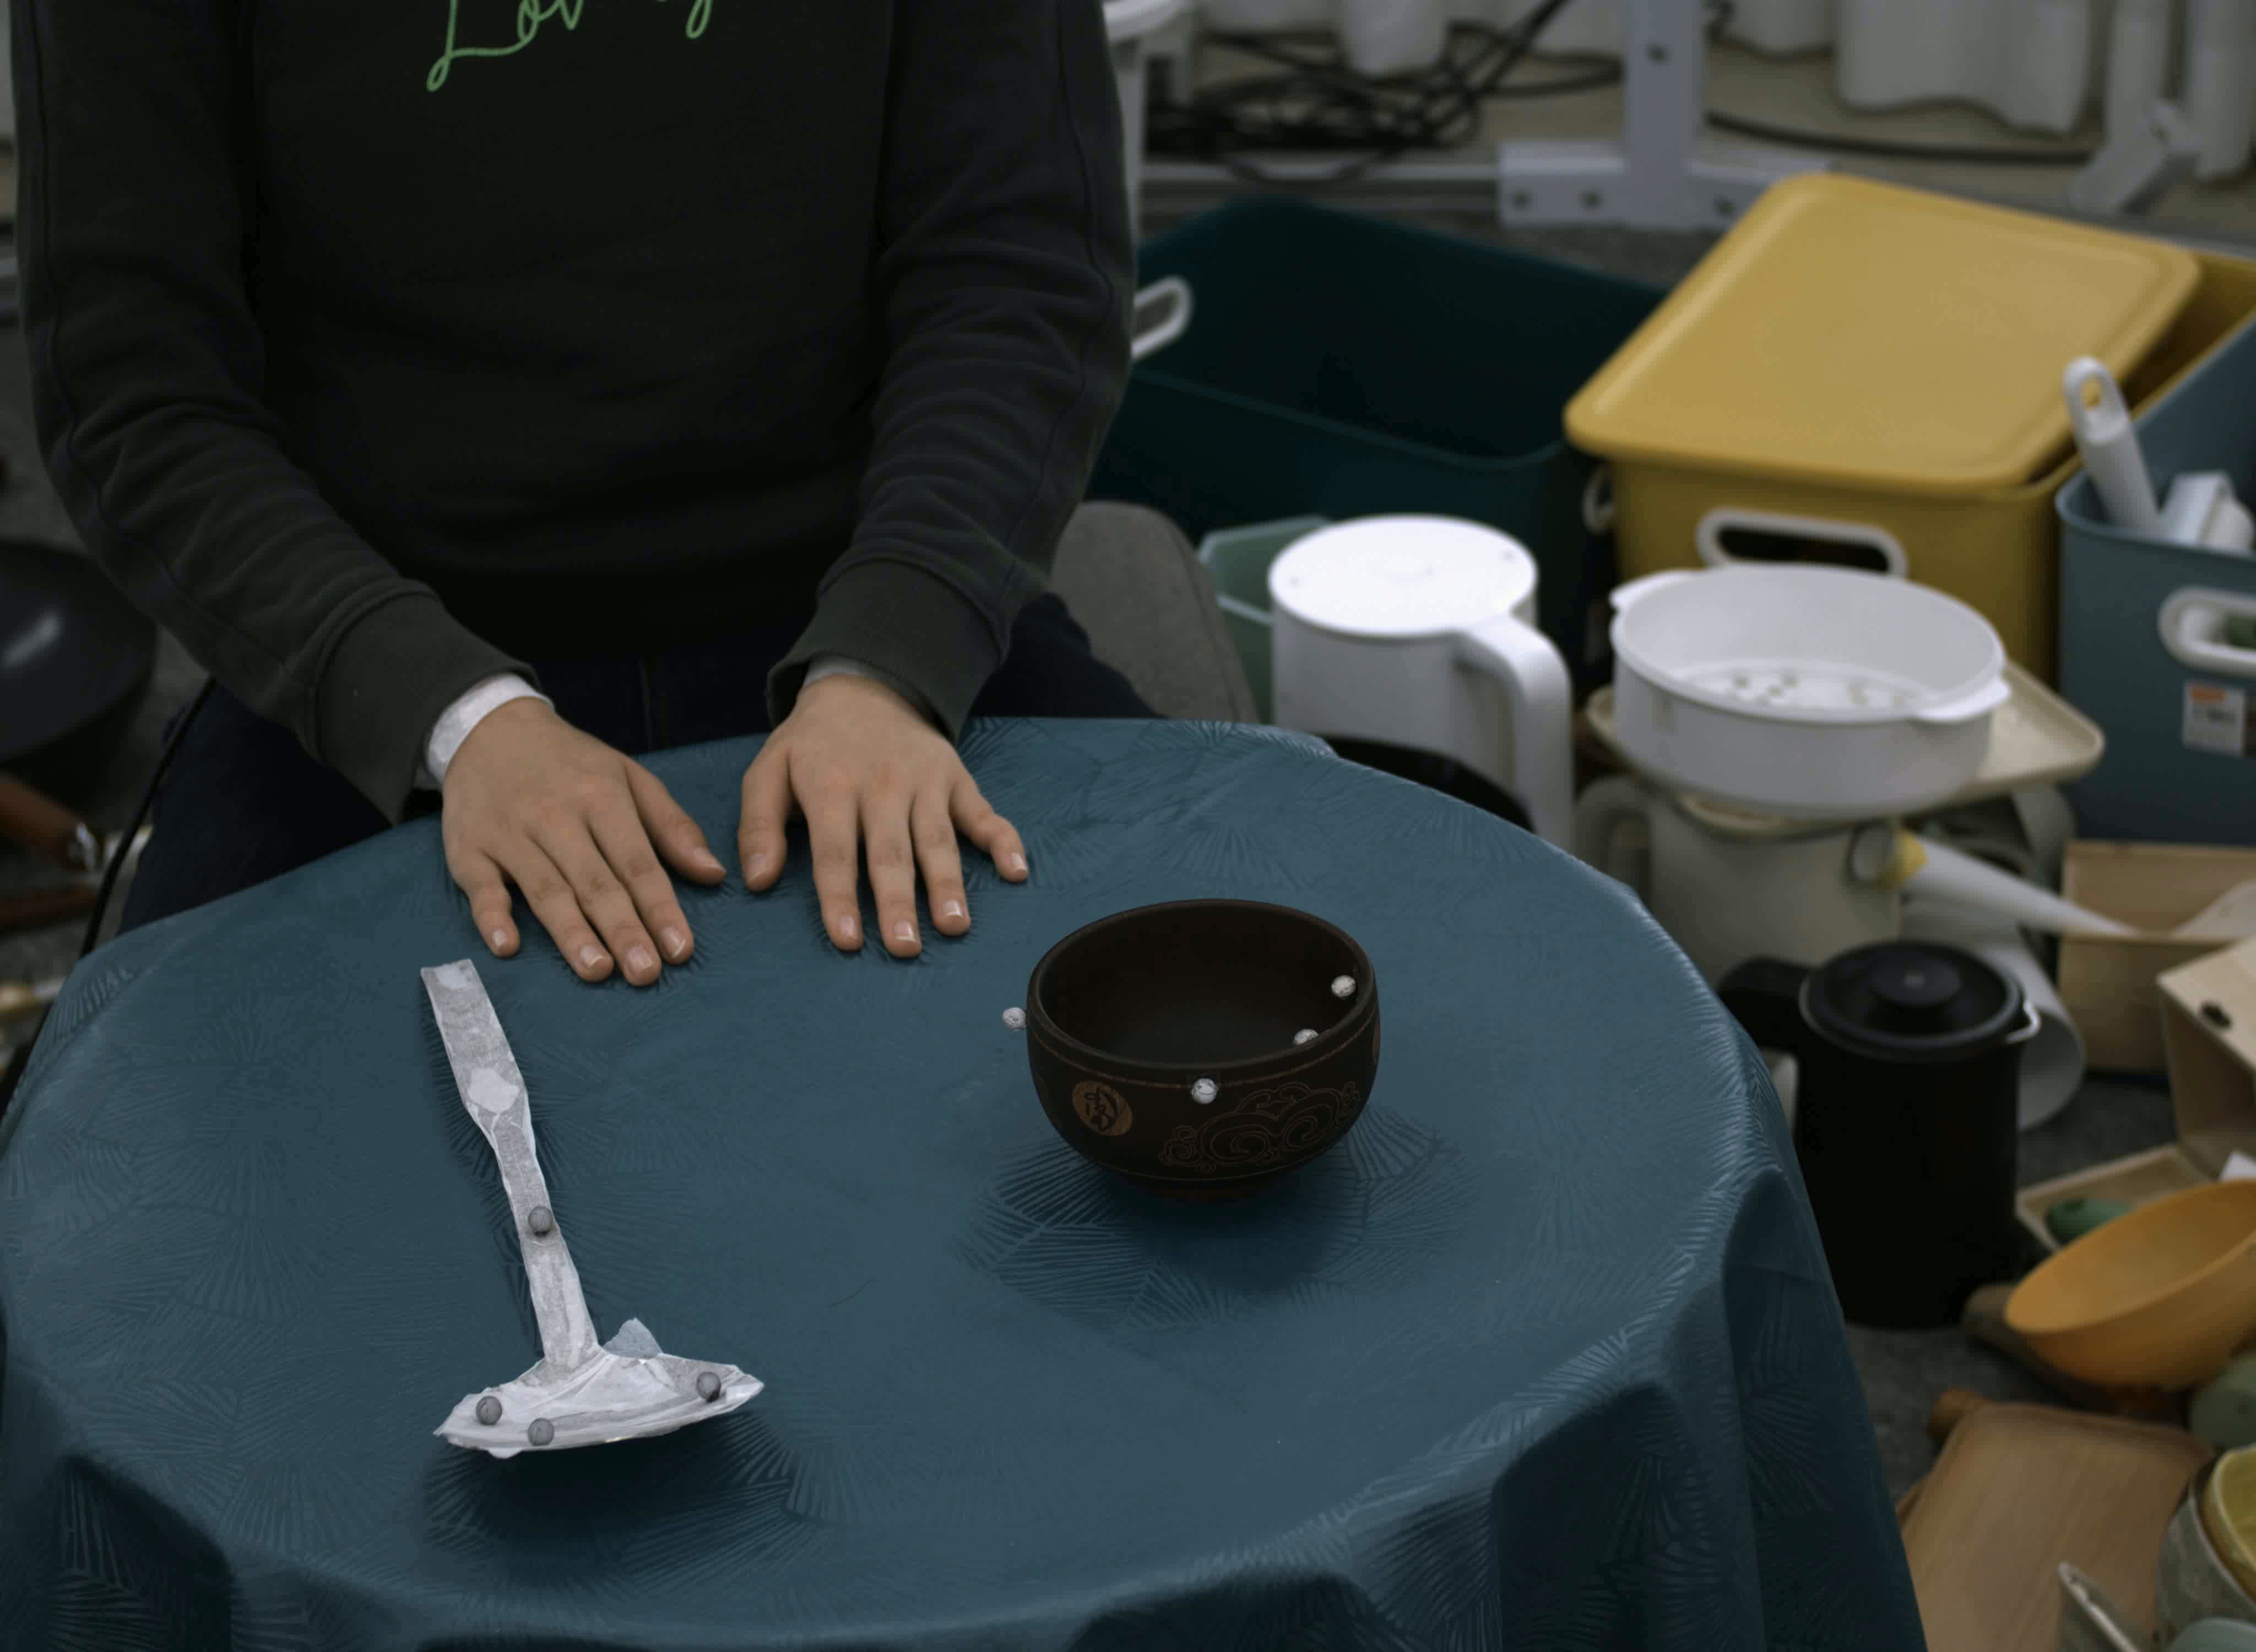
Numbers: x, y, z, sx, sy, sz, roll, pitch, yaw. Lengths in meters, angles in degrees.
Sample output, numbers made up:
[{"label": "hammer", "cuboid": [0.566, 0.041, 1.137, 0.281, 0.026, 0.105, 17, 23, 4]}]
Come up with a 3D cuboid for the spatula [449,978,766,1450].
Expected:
[{"label": "spatula", "cuboid": [-0.193, 0.119, 1.843, 0.098, 0.044, 0.369, -10, 28, -10]}]

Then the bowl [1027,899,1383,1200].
[{"label": "bowl", "cuboid": [0.026, 0.080, 1.862, 0.117, 0.069, 0.120, -2, 25, 1]}]
